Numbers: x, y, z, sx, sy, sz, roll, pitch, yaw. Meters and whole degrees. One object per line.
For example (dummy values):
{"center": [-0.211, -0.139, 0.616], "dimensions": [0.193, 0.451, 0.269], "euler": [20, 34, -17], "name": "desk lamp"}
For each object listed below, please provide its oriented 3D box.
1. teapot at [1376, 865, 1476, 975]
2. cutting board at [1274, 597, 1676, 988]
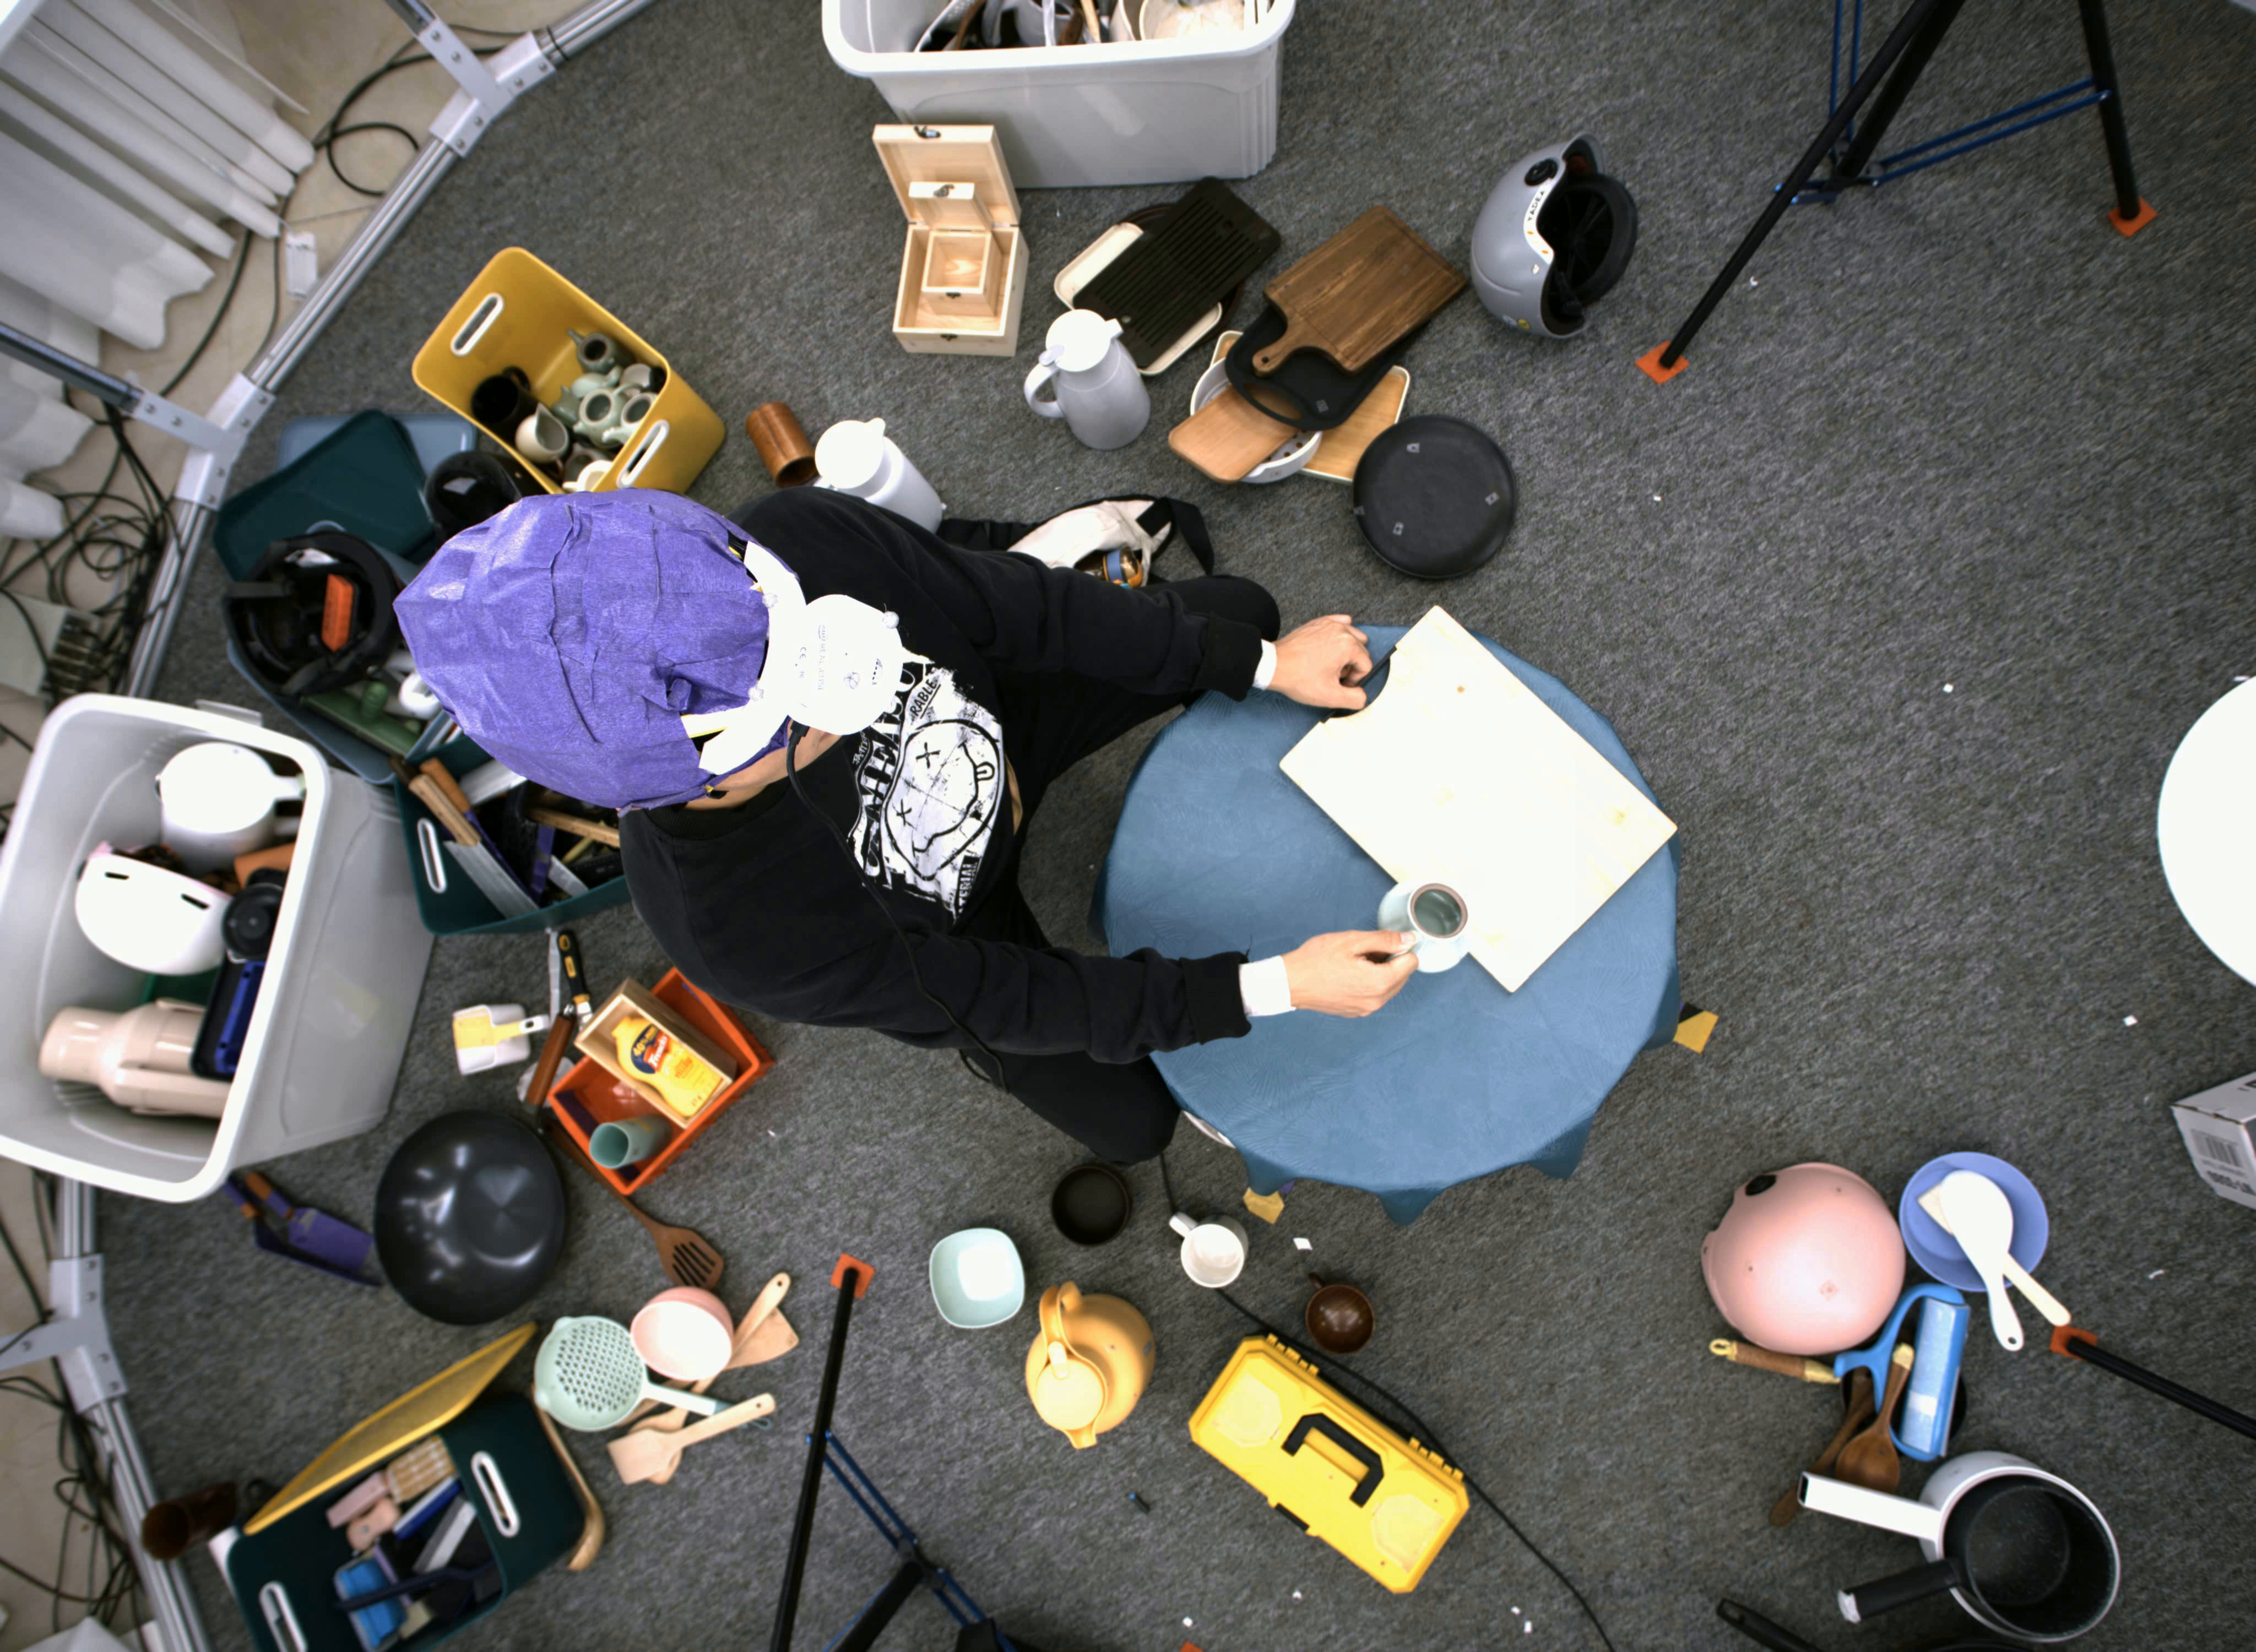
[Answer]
{"center": [0.288, 0.095, 1.334], "dimensions": [0.096, 0.062, 0.134], "euler": [42, 67, 8], "name": "teapot"}
{"center": [0.358, -0.037, 1.438], "dimensions": [0.347, 0.023, 0.252], "euler": [44, 95, 8], "name": "cutting board"}
